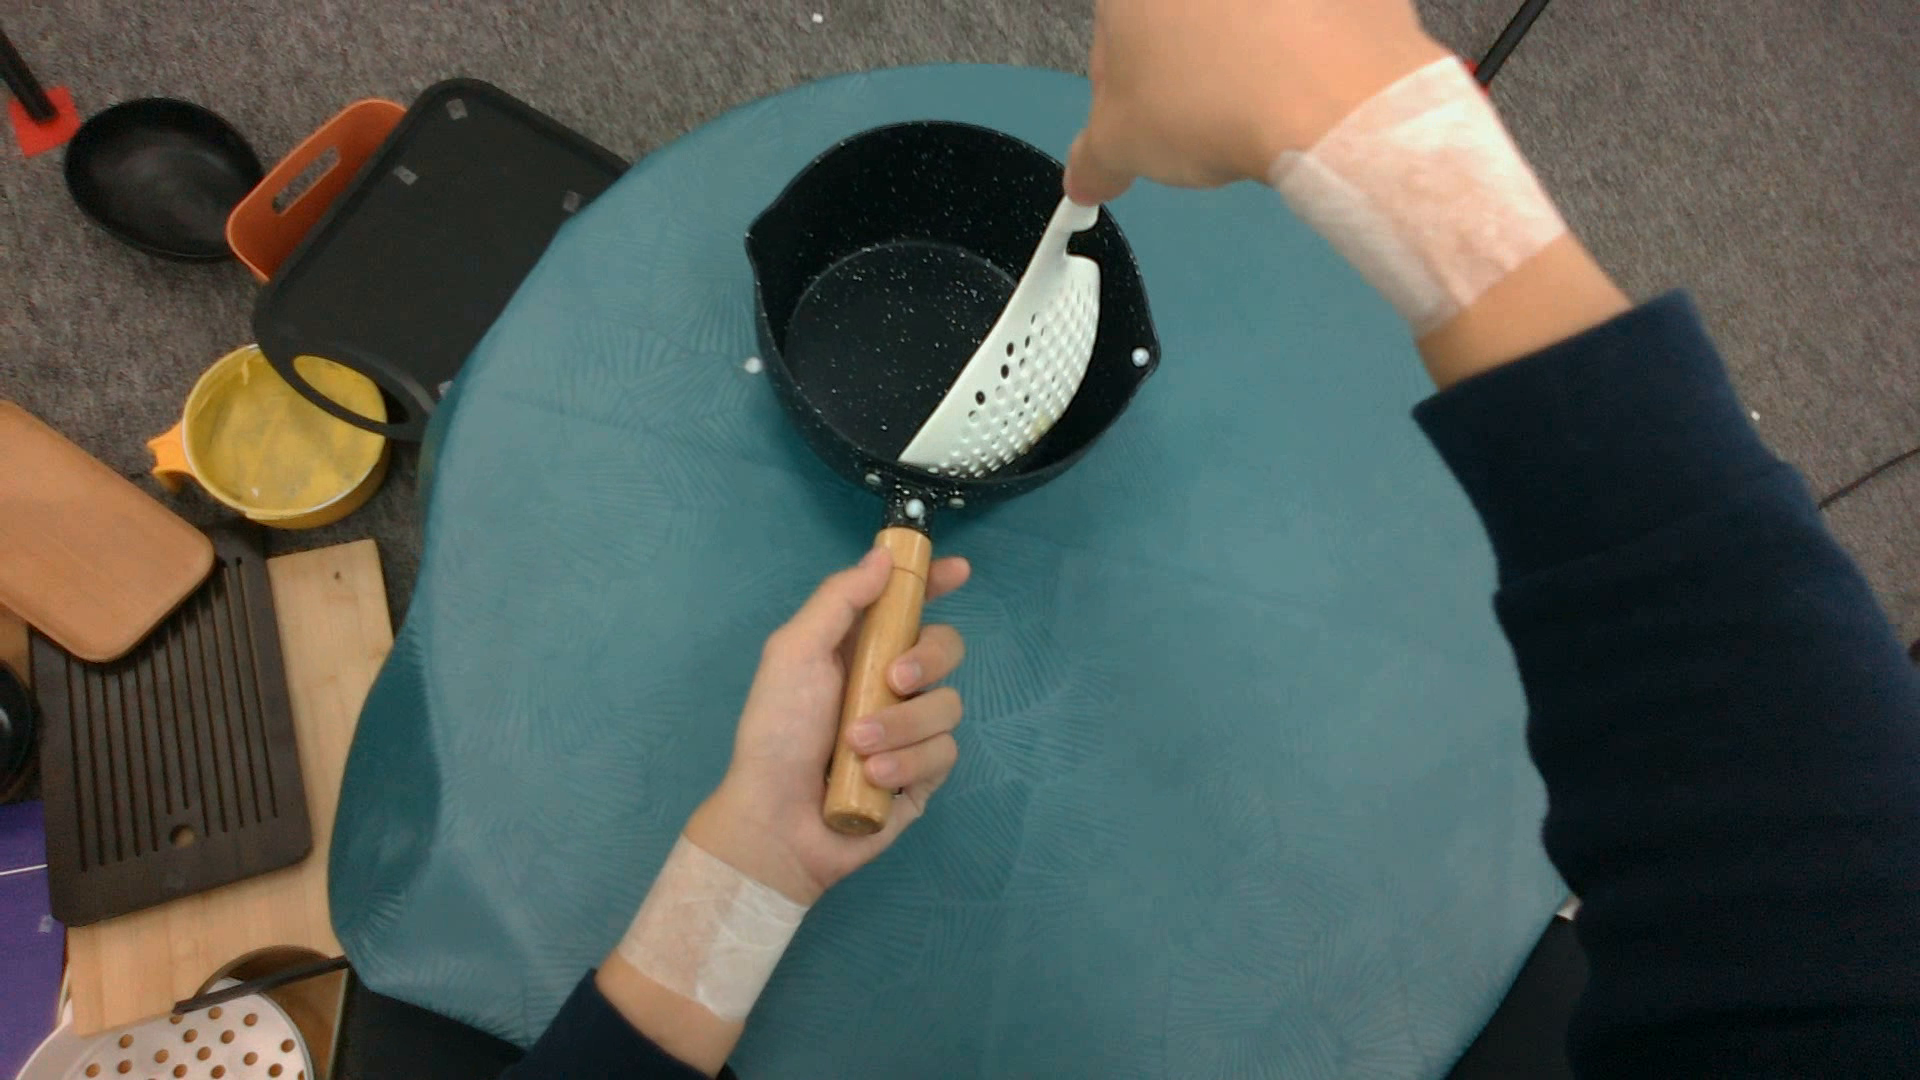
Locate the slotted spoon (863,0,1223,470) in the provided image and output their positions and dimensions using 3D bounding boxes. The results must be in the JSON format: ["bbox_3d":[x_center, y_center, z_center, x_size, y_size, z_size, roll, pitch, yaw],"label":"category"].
[{"bbox_3d":[0.033,-0.108,0.540,0.137,0.346,0.050,-42,80,-20],"label":"slotted spoon"}]

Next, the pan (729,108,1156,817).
[{"bbox_3d":[-0.023,-0.036,0.633,0.207,0.108,0.344,14,68,-11],"label":"pan"}]
